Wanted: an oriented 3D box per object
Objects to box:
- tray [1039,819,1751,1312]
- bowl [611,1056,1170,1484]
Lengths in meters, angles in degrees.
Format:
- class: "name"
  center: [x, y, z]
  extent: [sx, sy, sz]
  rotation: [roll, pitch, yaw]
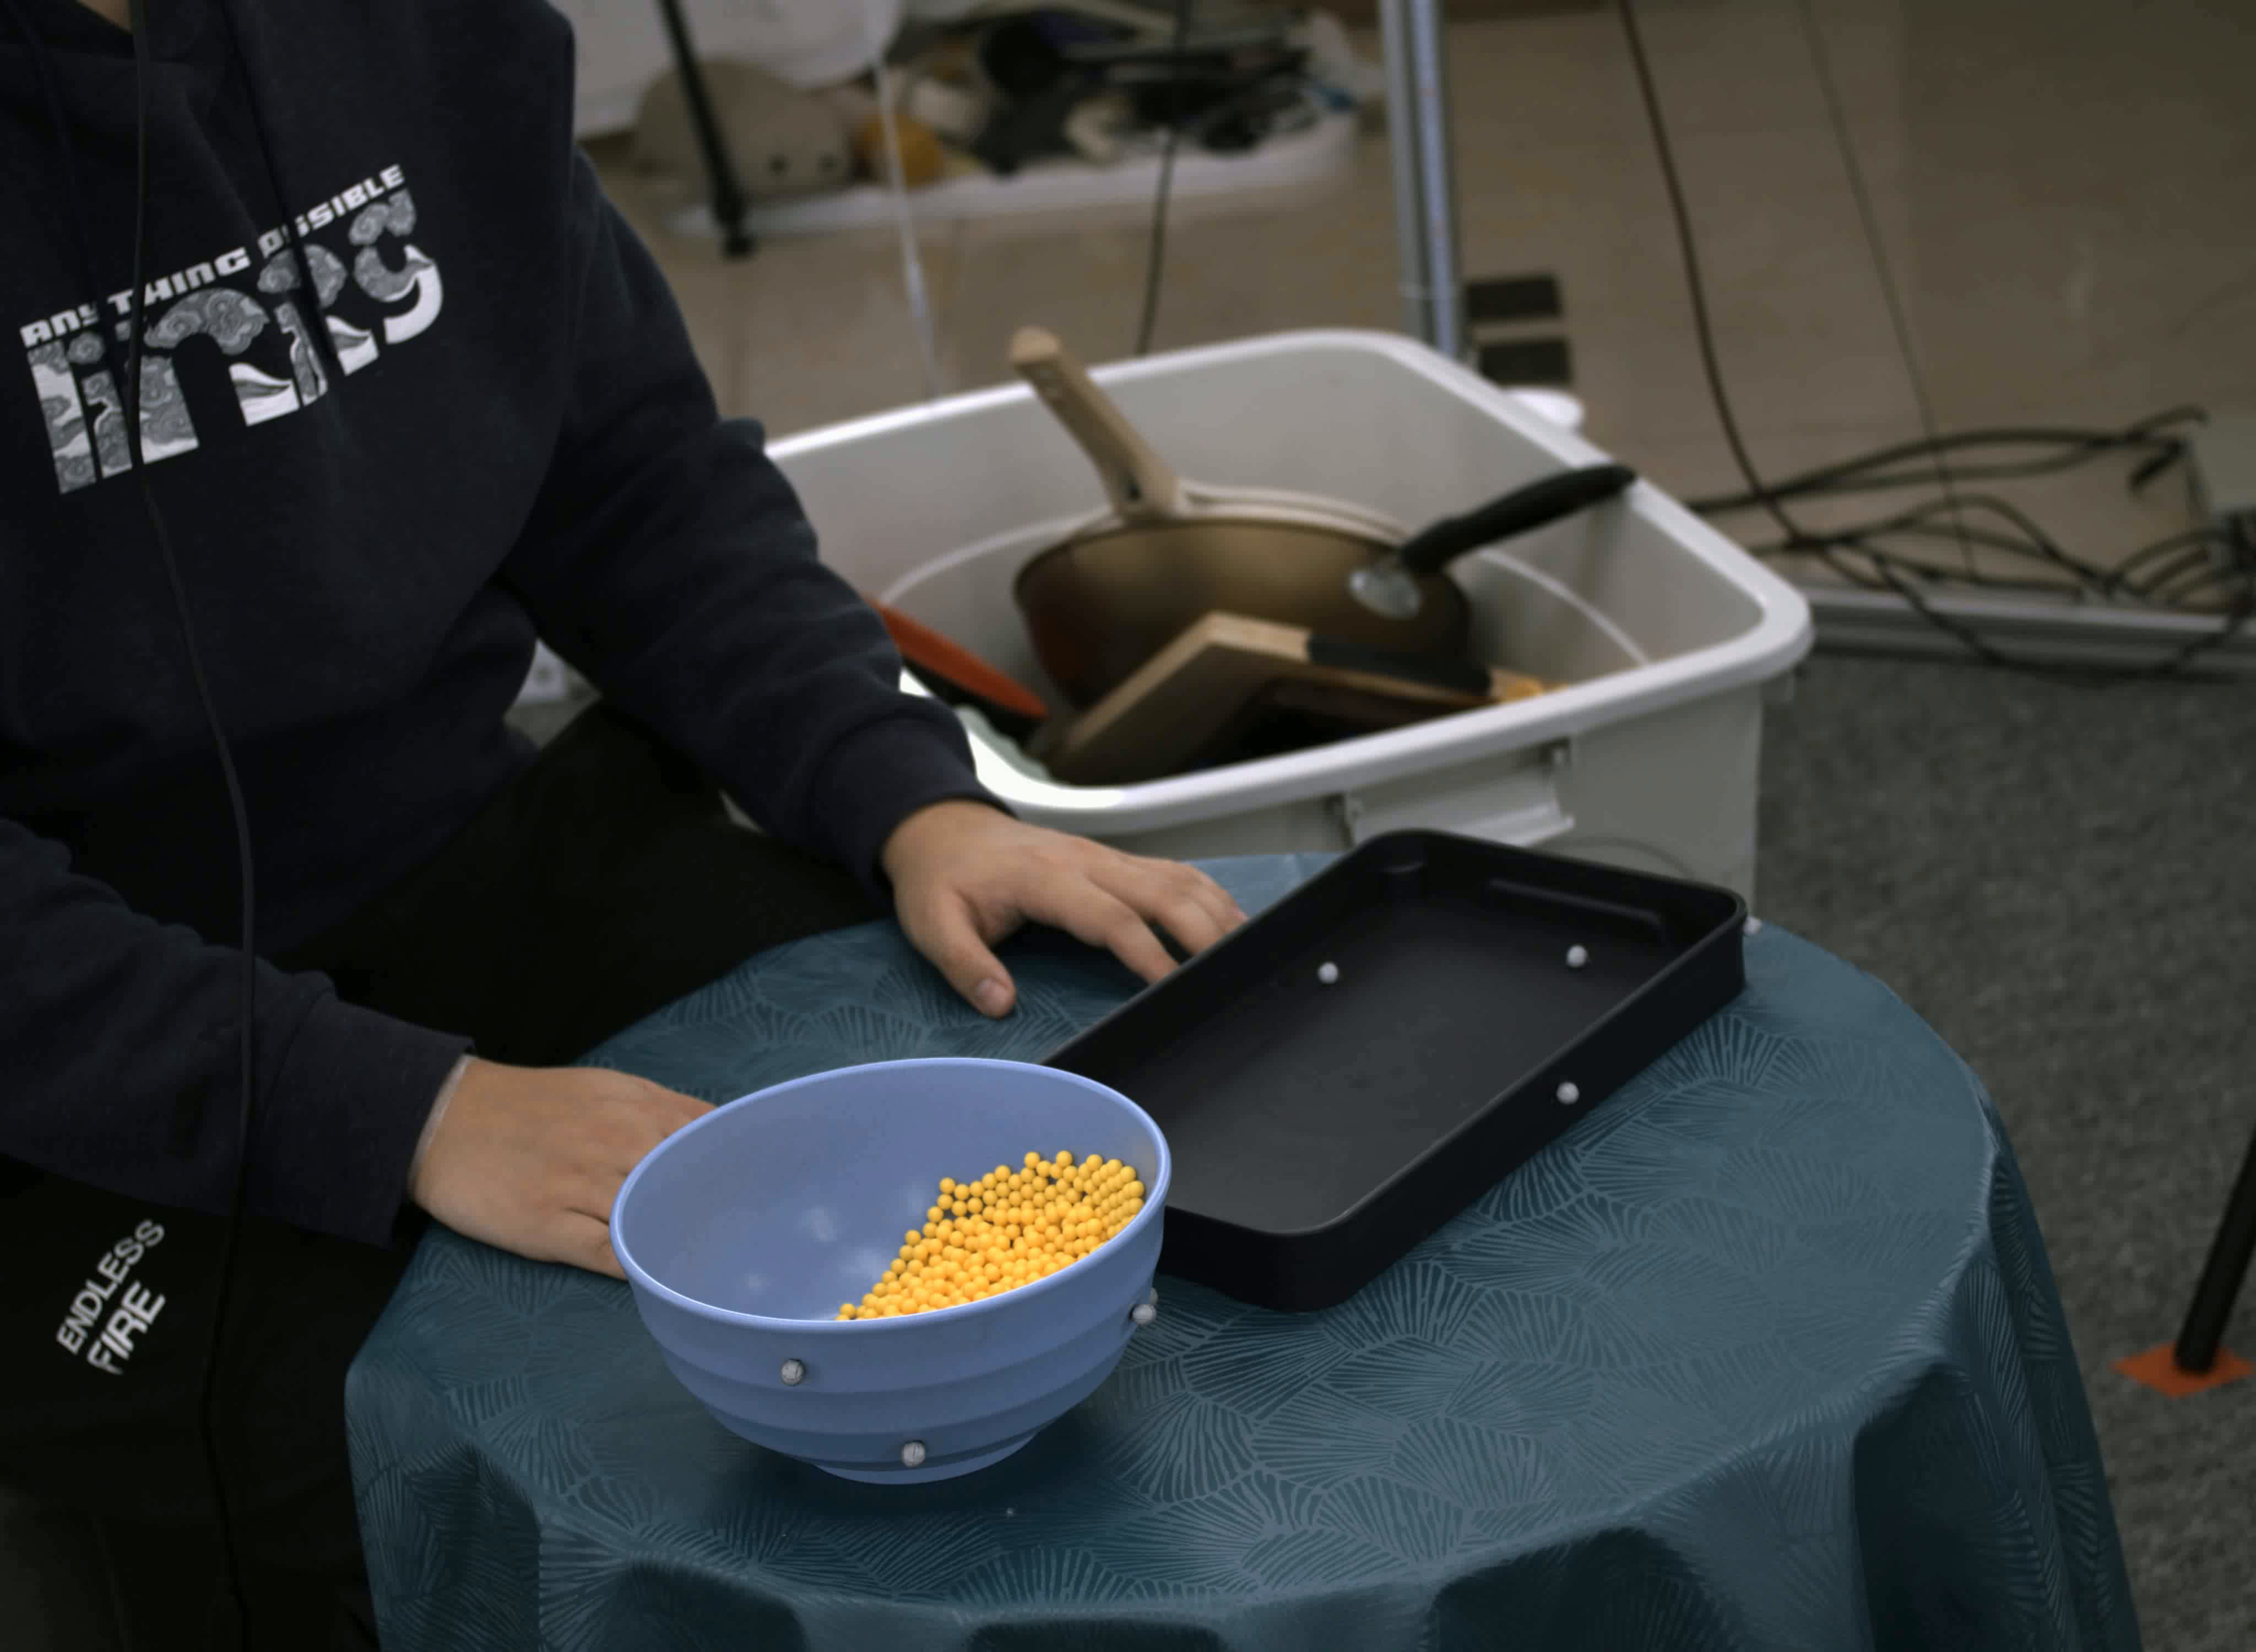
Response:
- class: "tray"
  center: [0.093, 0.087, 2.199]
  extent: [0.183, 0.037, 0.314]
  rotation: [11, 31, 35]
- class: "bowl"
  center: [-0.078, 0.167, 1.992]
  extent: [0.196, 0.097, 0.193]
  rotation: [-6, 25, 3]
